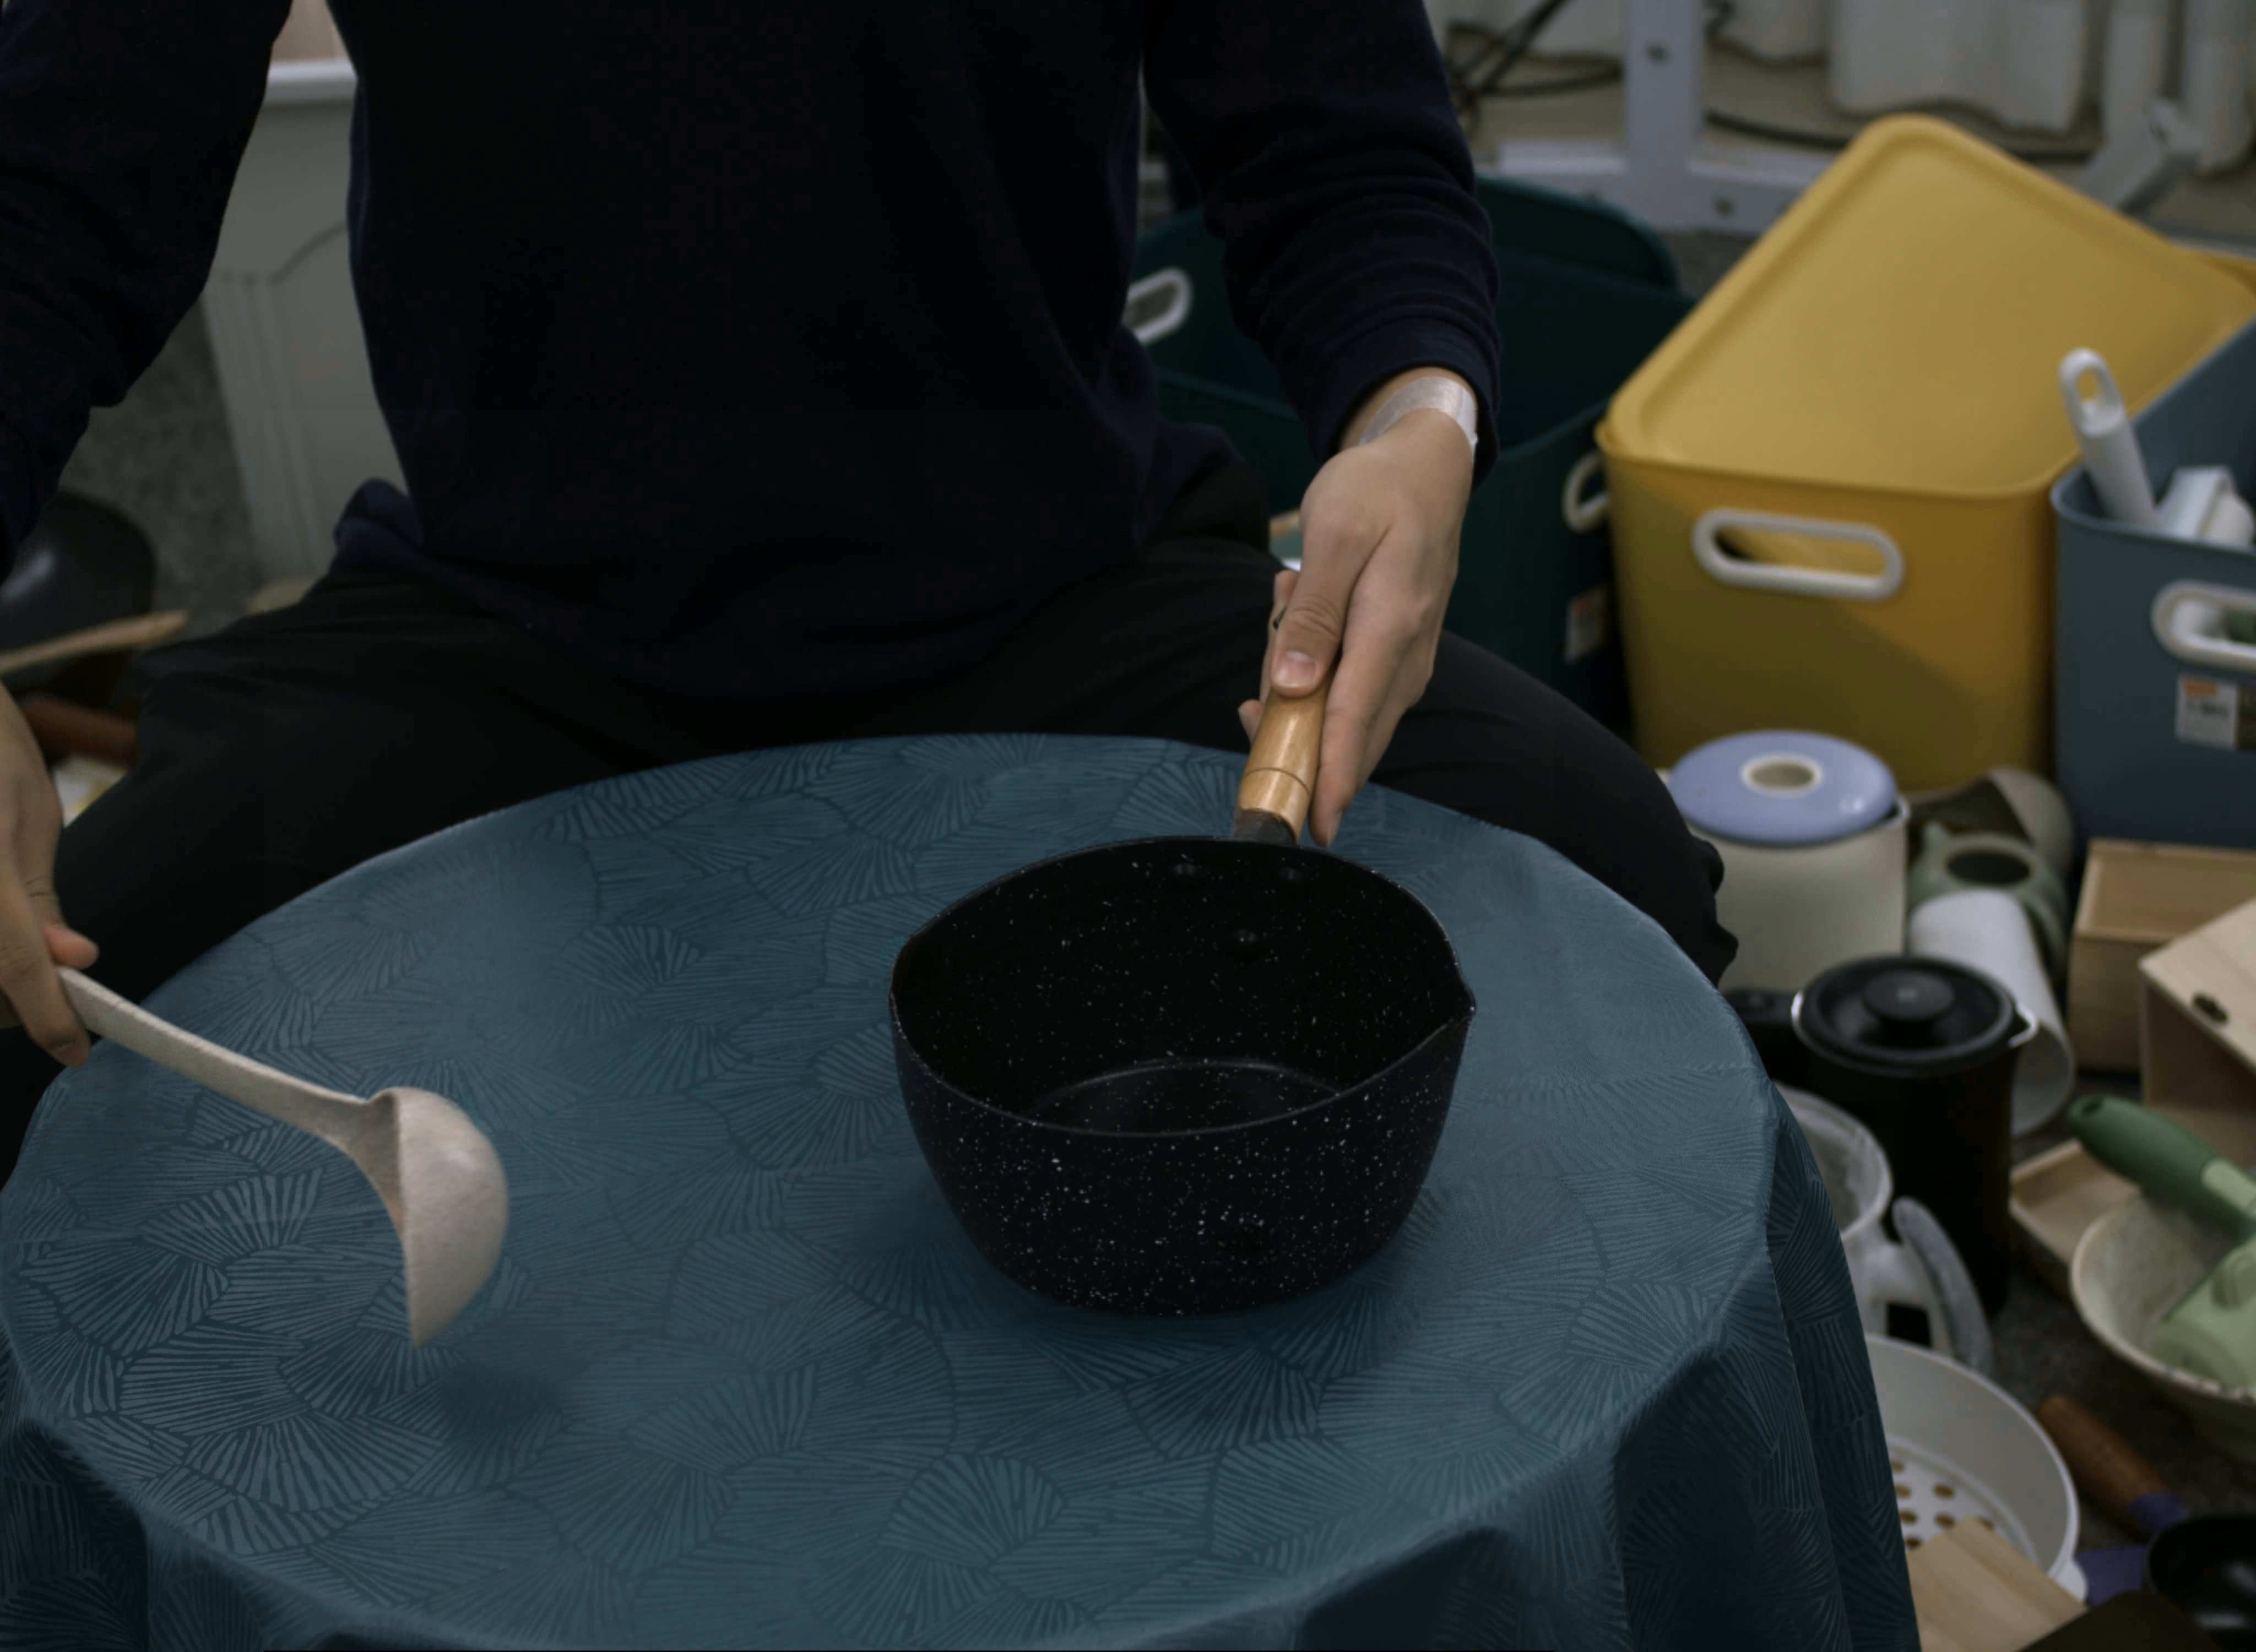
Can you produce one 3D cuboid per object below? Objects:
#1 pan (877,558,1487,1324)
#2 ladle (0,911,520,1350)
[{"bbox_3d":[0.035,0.035,1.899,0.206,0.107,0.349,3,31,14],"label":"pan"},{"bbox_3d":[-0.311,0.082,1.787,0.274,0.088,0.070,23,49,22],"label":"ladle"}]
